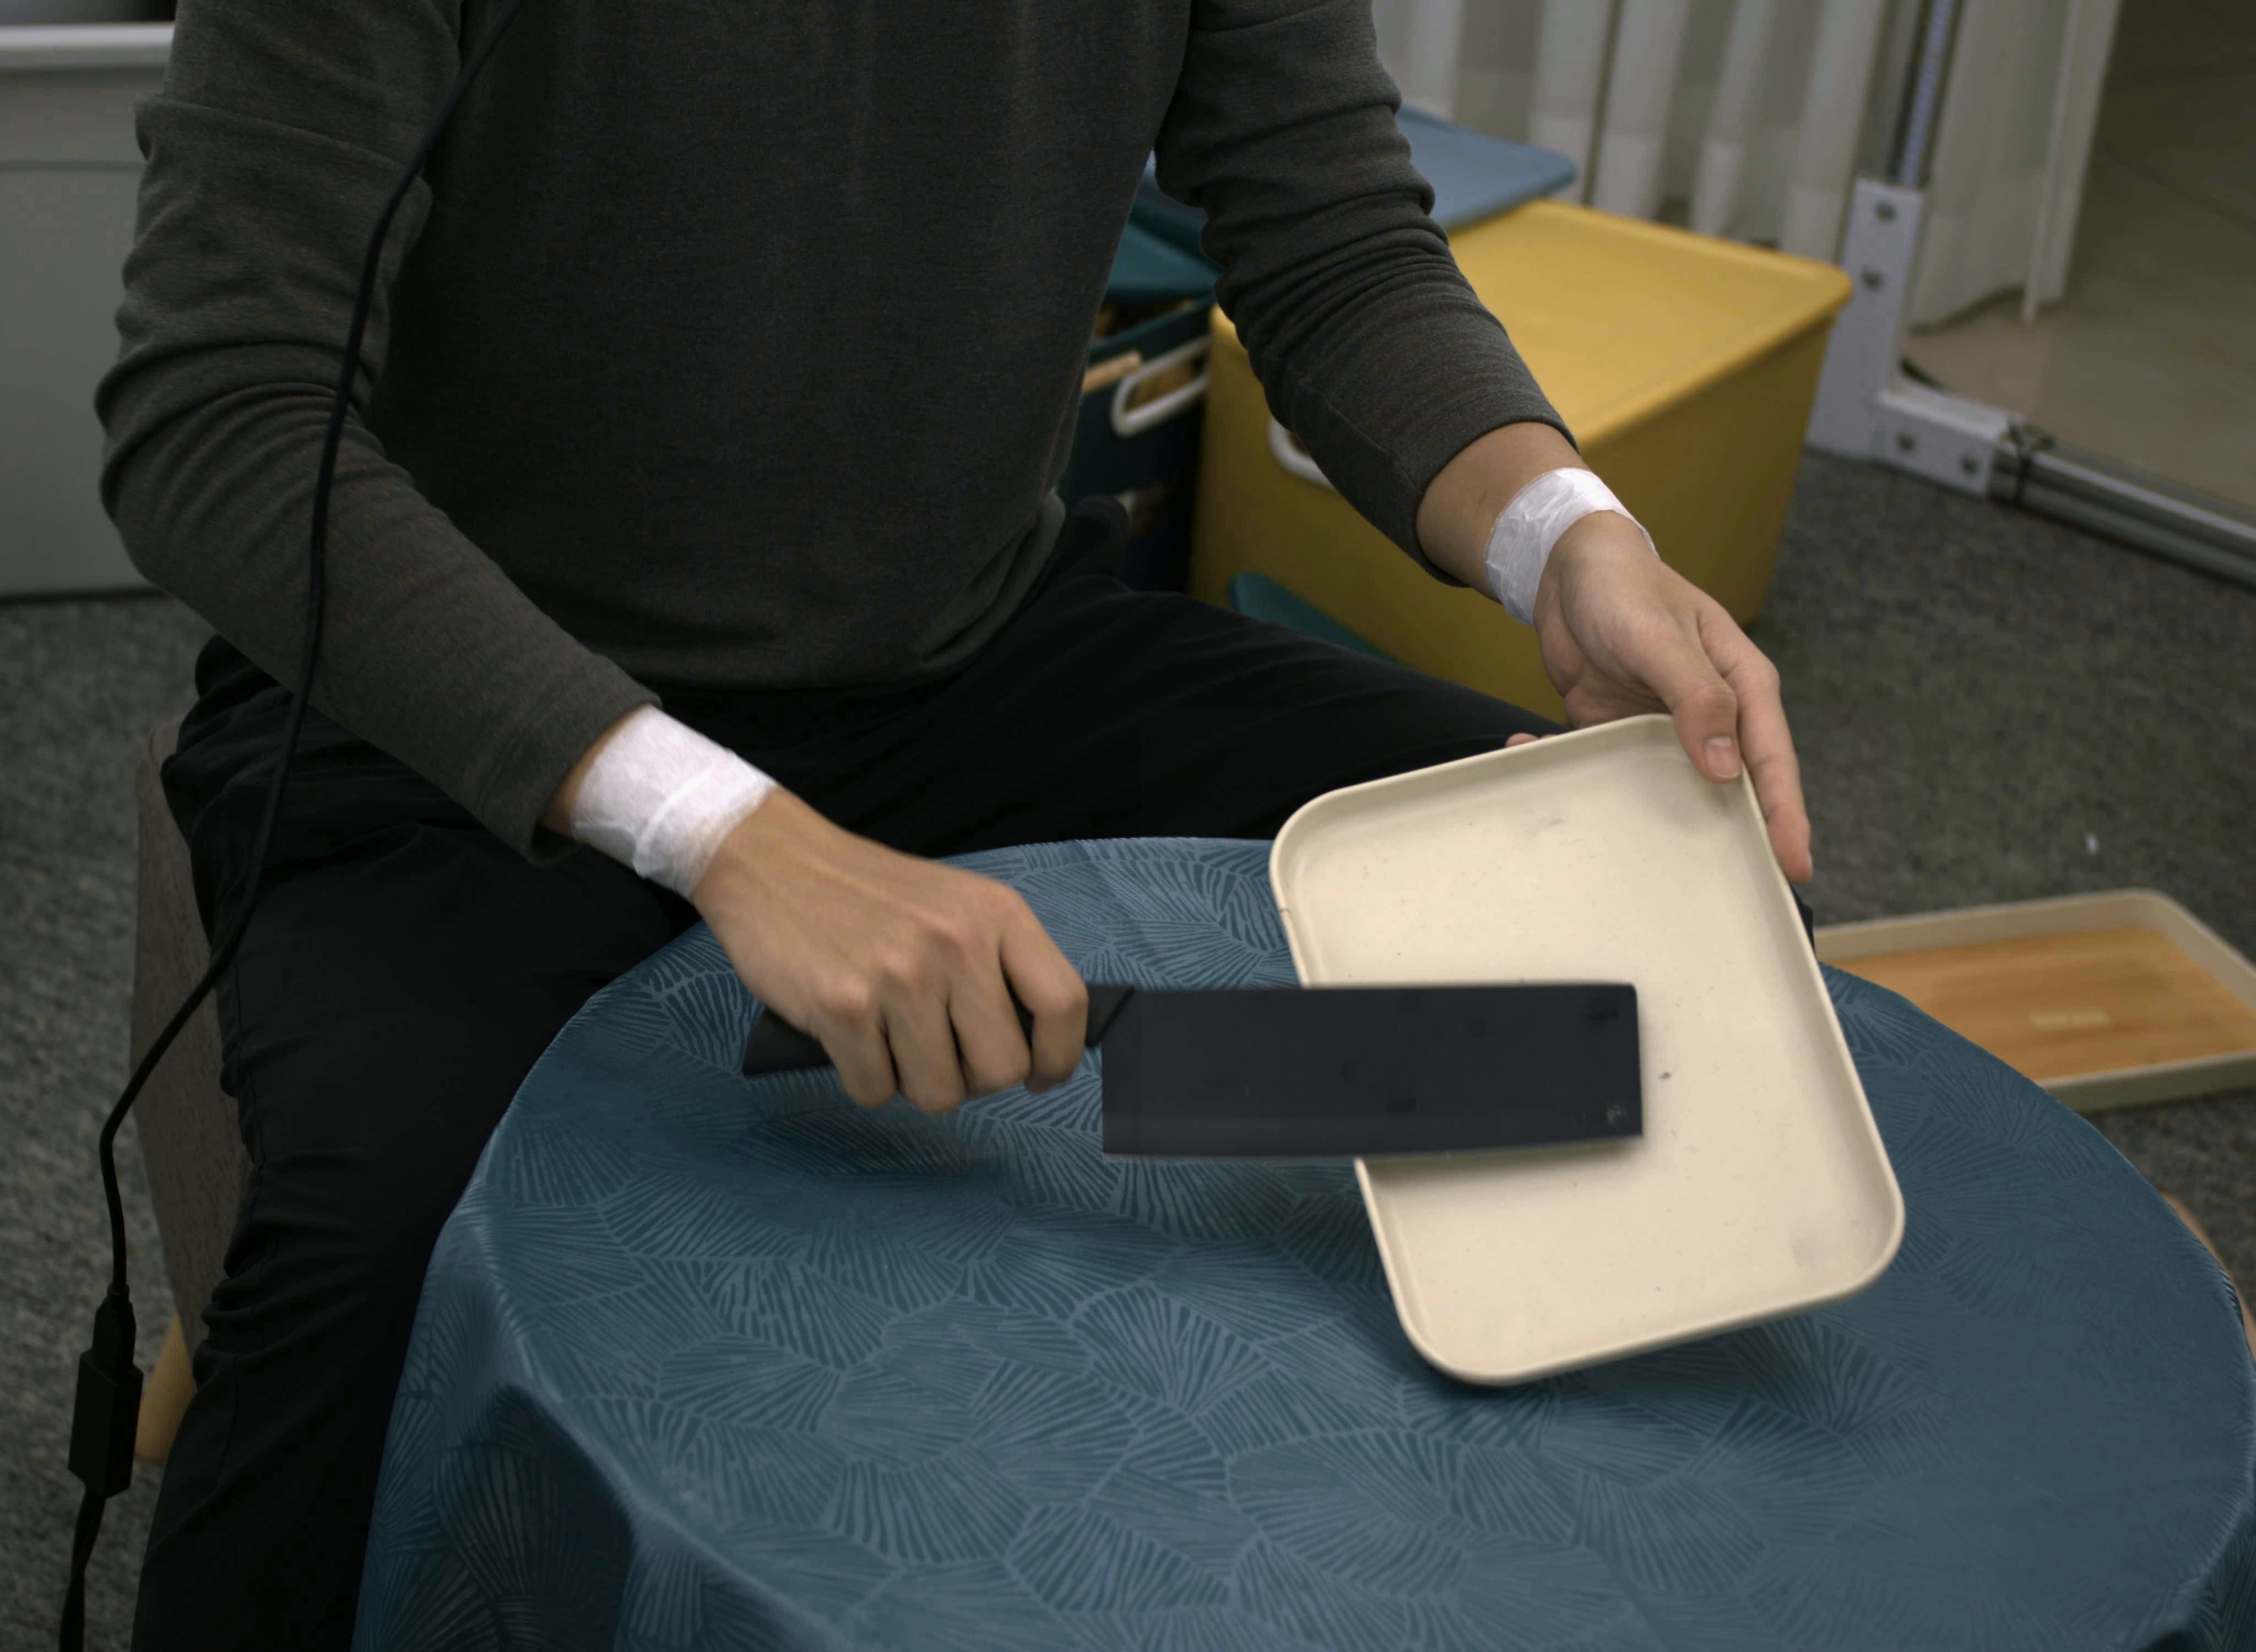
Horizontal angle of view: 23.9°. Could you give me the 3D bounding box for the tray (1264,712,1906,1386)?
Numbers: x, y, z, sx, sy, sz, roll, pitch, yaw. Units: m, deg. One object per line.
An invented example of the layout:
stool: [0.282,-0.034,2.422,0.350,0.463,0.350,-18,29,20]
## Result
tray: [0.150,0.073,1.782,0.171,0.017,0.242,-14,55,-3]

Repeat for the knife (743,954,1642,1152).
knife: [0.021,0.075,1.783,0.302,0.021,0.081,2,58,5]
